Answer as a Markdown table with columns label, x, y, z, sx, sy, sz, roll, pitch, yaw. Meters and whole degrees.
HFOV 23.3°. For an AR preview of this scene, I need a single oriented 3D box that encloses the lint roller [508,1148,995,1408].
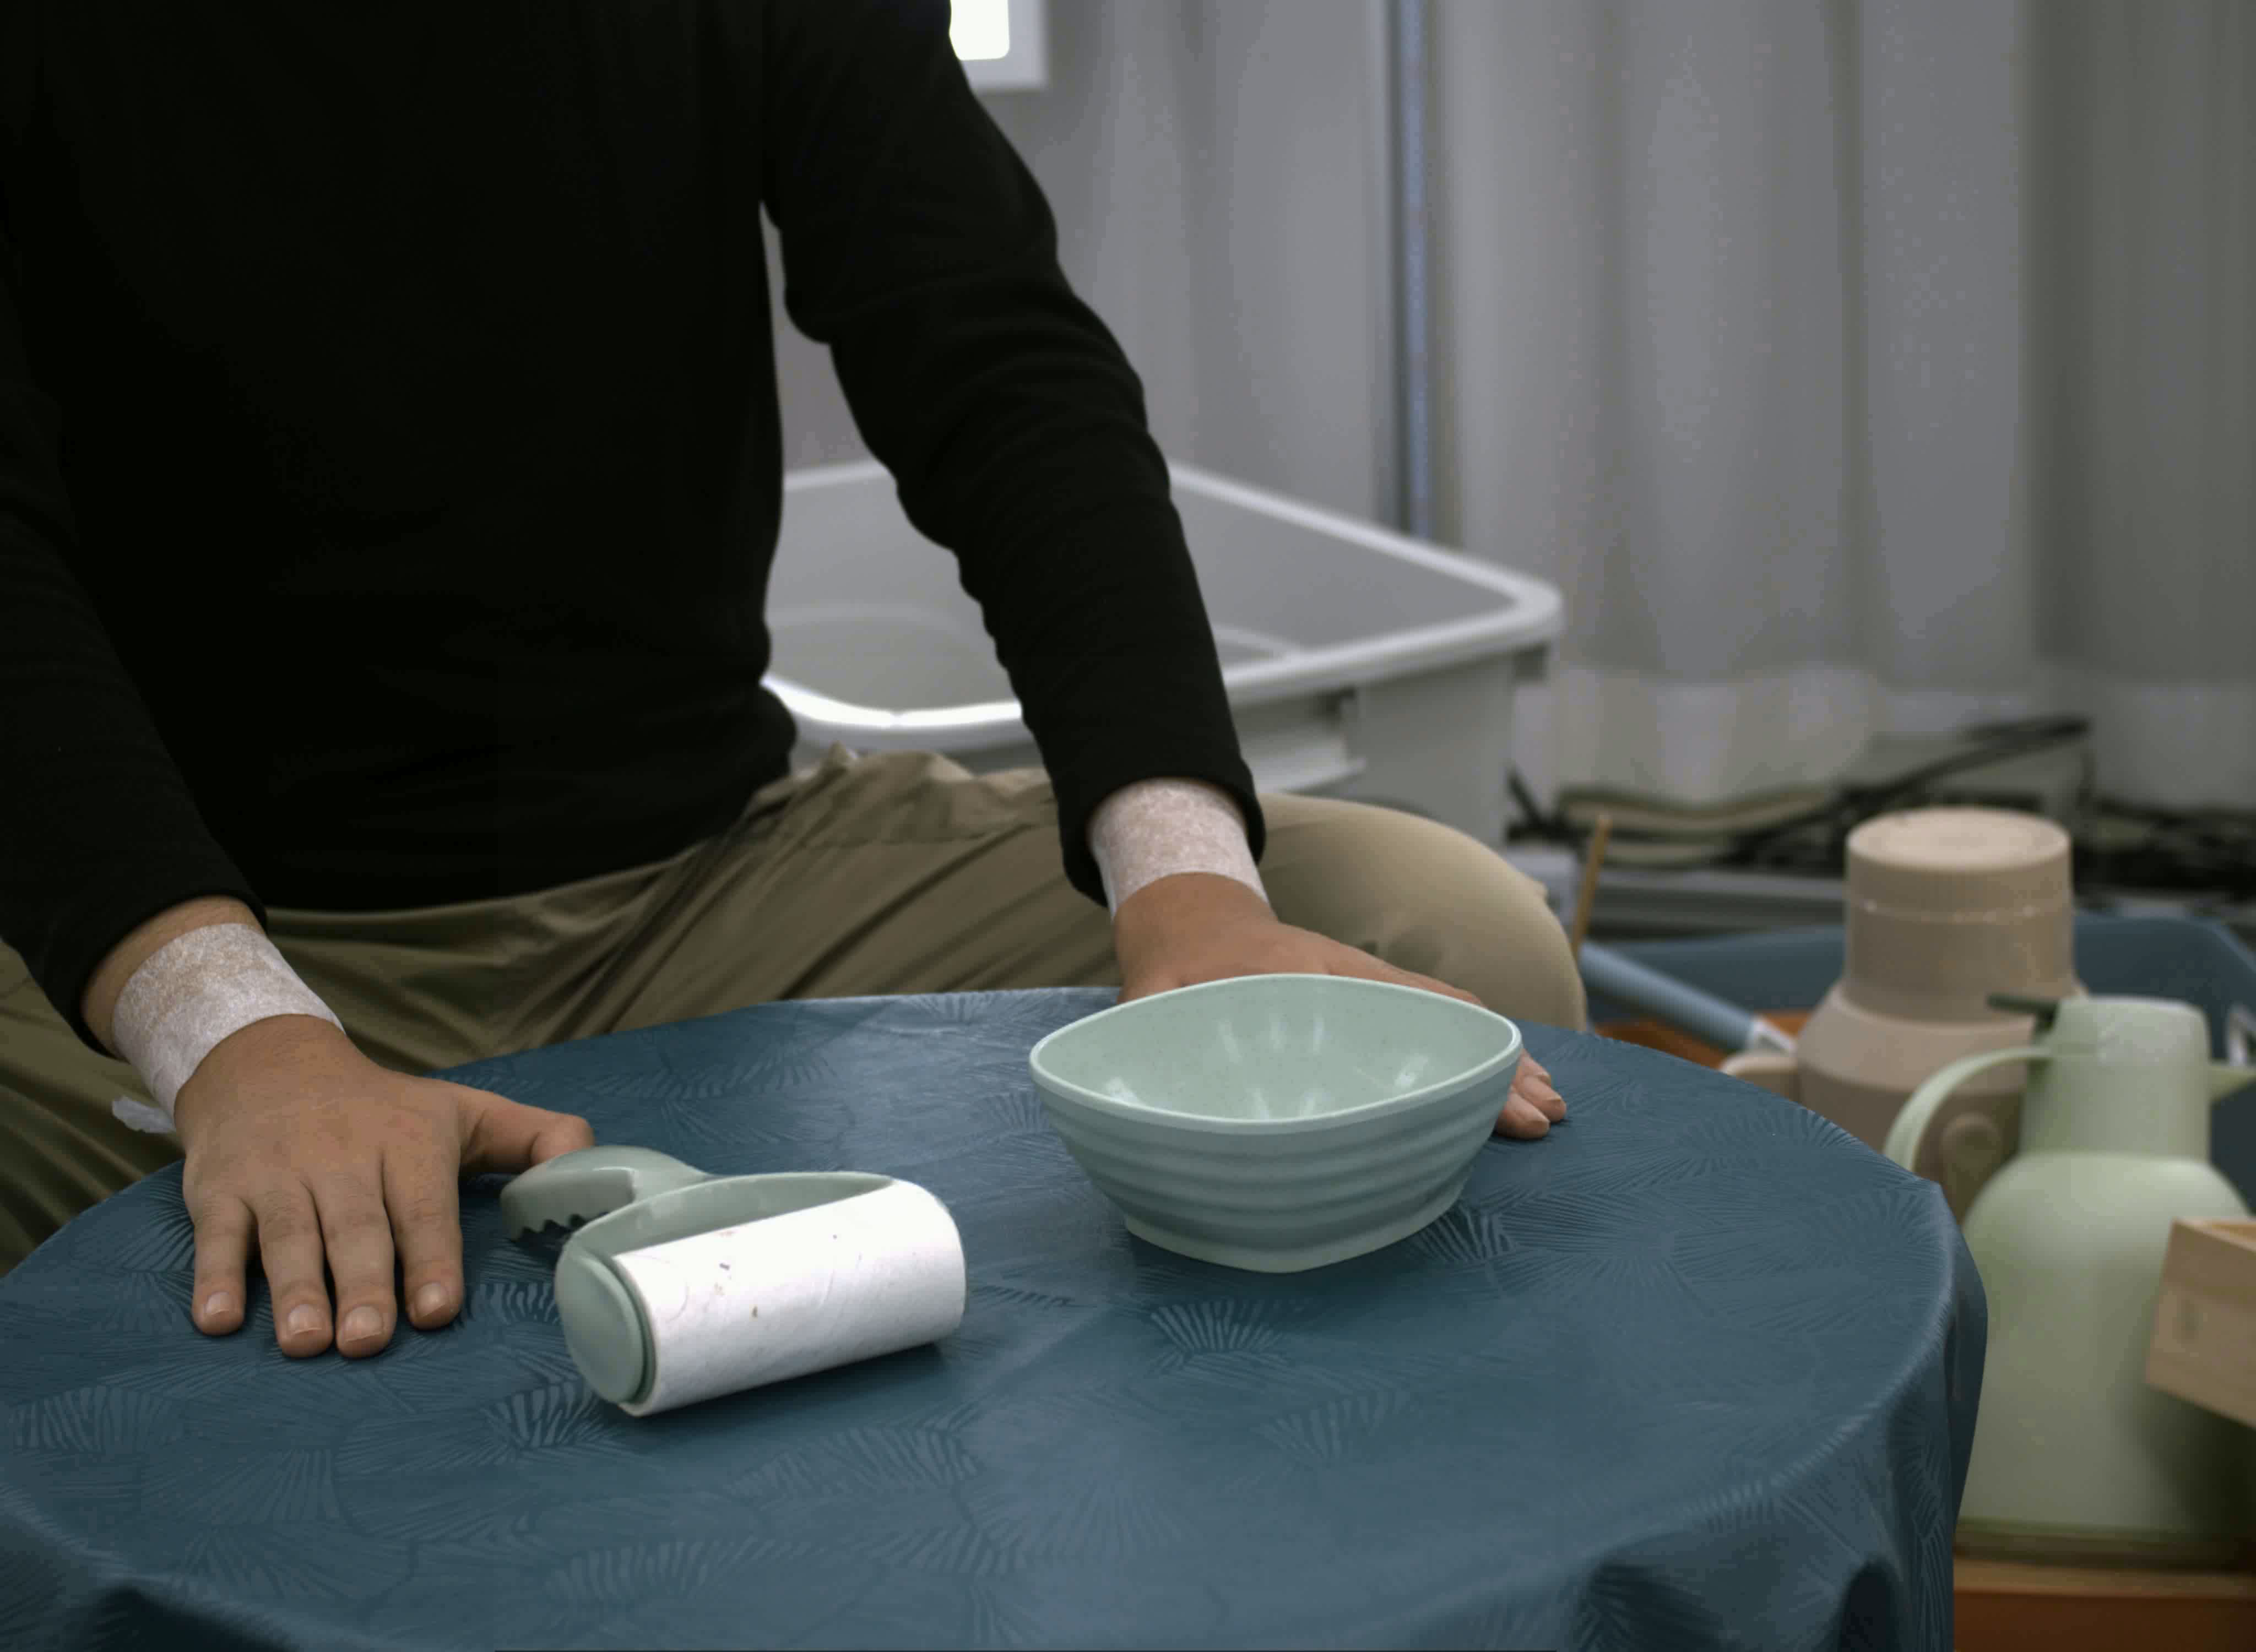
| label | x | y | z | sx | sy | sz | roll | pitch | yaw |
| --- | --- | --- | --- | --- | --- | --- | --- | --- | --- |
| lint roller | -0.132 | 0.121 | 1.629 | 0.116 | 0.048 | 0.199 | -13 | 16 | -30 |

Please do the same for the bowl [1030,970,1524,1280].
| label | x | y | z | sx | sy | sz | roll | pitch | yaw |
| --- | --- | --- | --- | --- | --- | --- | --- | --- | --- |
| bowl | 0.046 | 0.095 | 1.673 | 0.151 | 0.058 | 0.152 | -3 | 16 | 0 |
